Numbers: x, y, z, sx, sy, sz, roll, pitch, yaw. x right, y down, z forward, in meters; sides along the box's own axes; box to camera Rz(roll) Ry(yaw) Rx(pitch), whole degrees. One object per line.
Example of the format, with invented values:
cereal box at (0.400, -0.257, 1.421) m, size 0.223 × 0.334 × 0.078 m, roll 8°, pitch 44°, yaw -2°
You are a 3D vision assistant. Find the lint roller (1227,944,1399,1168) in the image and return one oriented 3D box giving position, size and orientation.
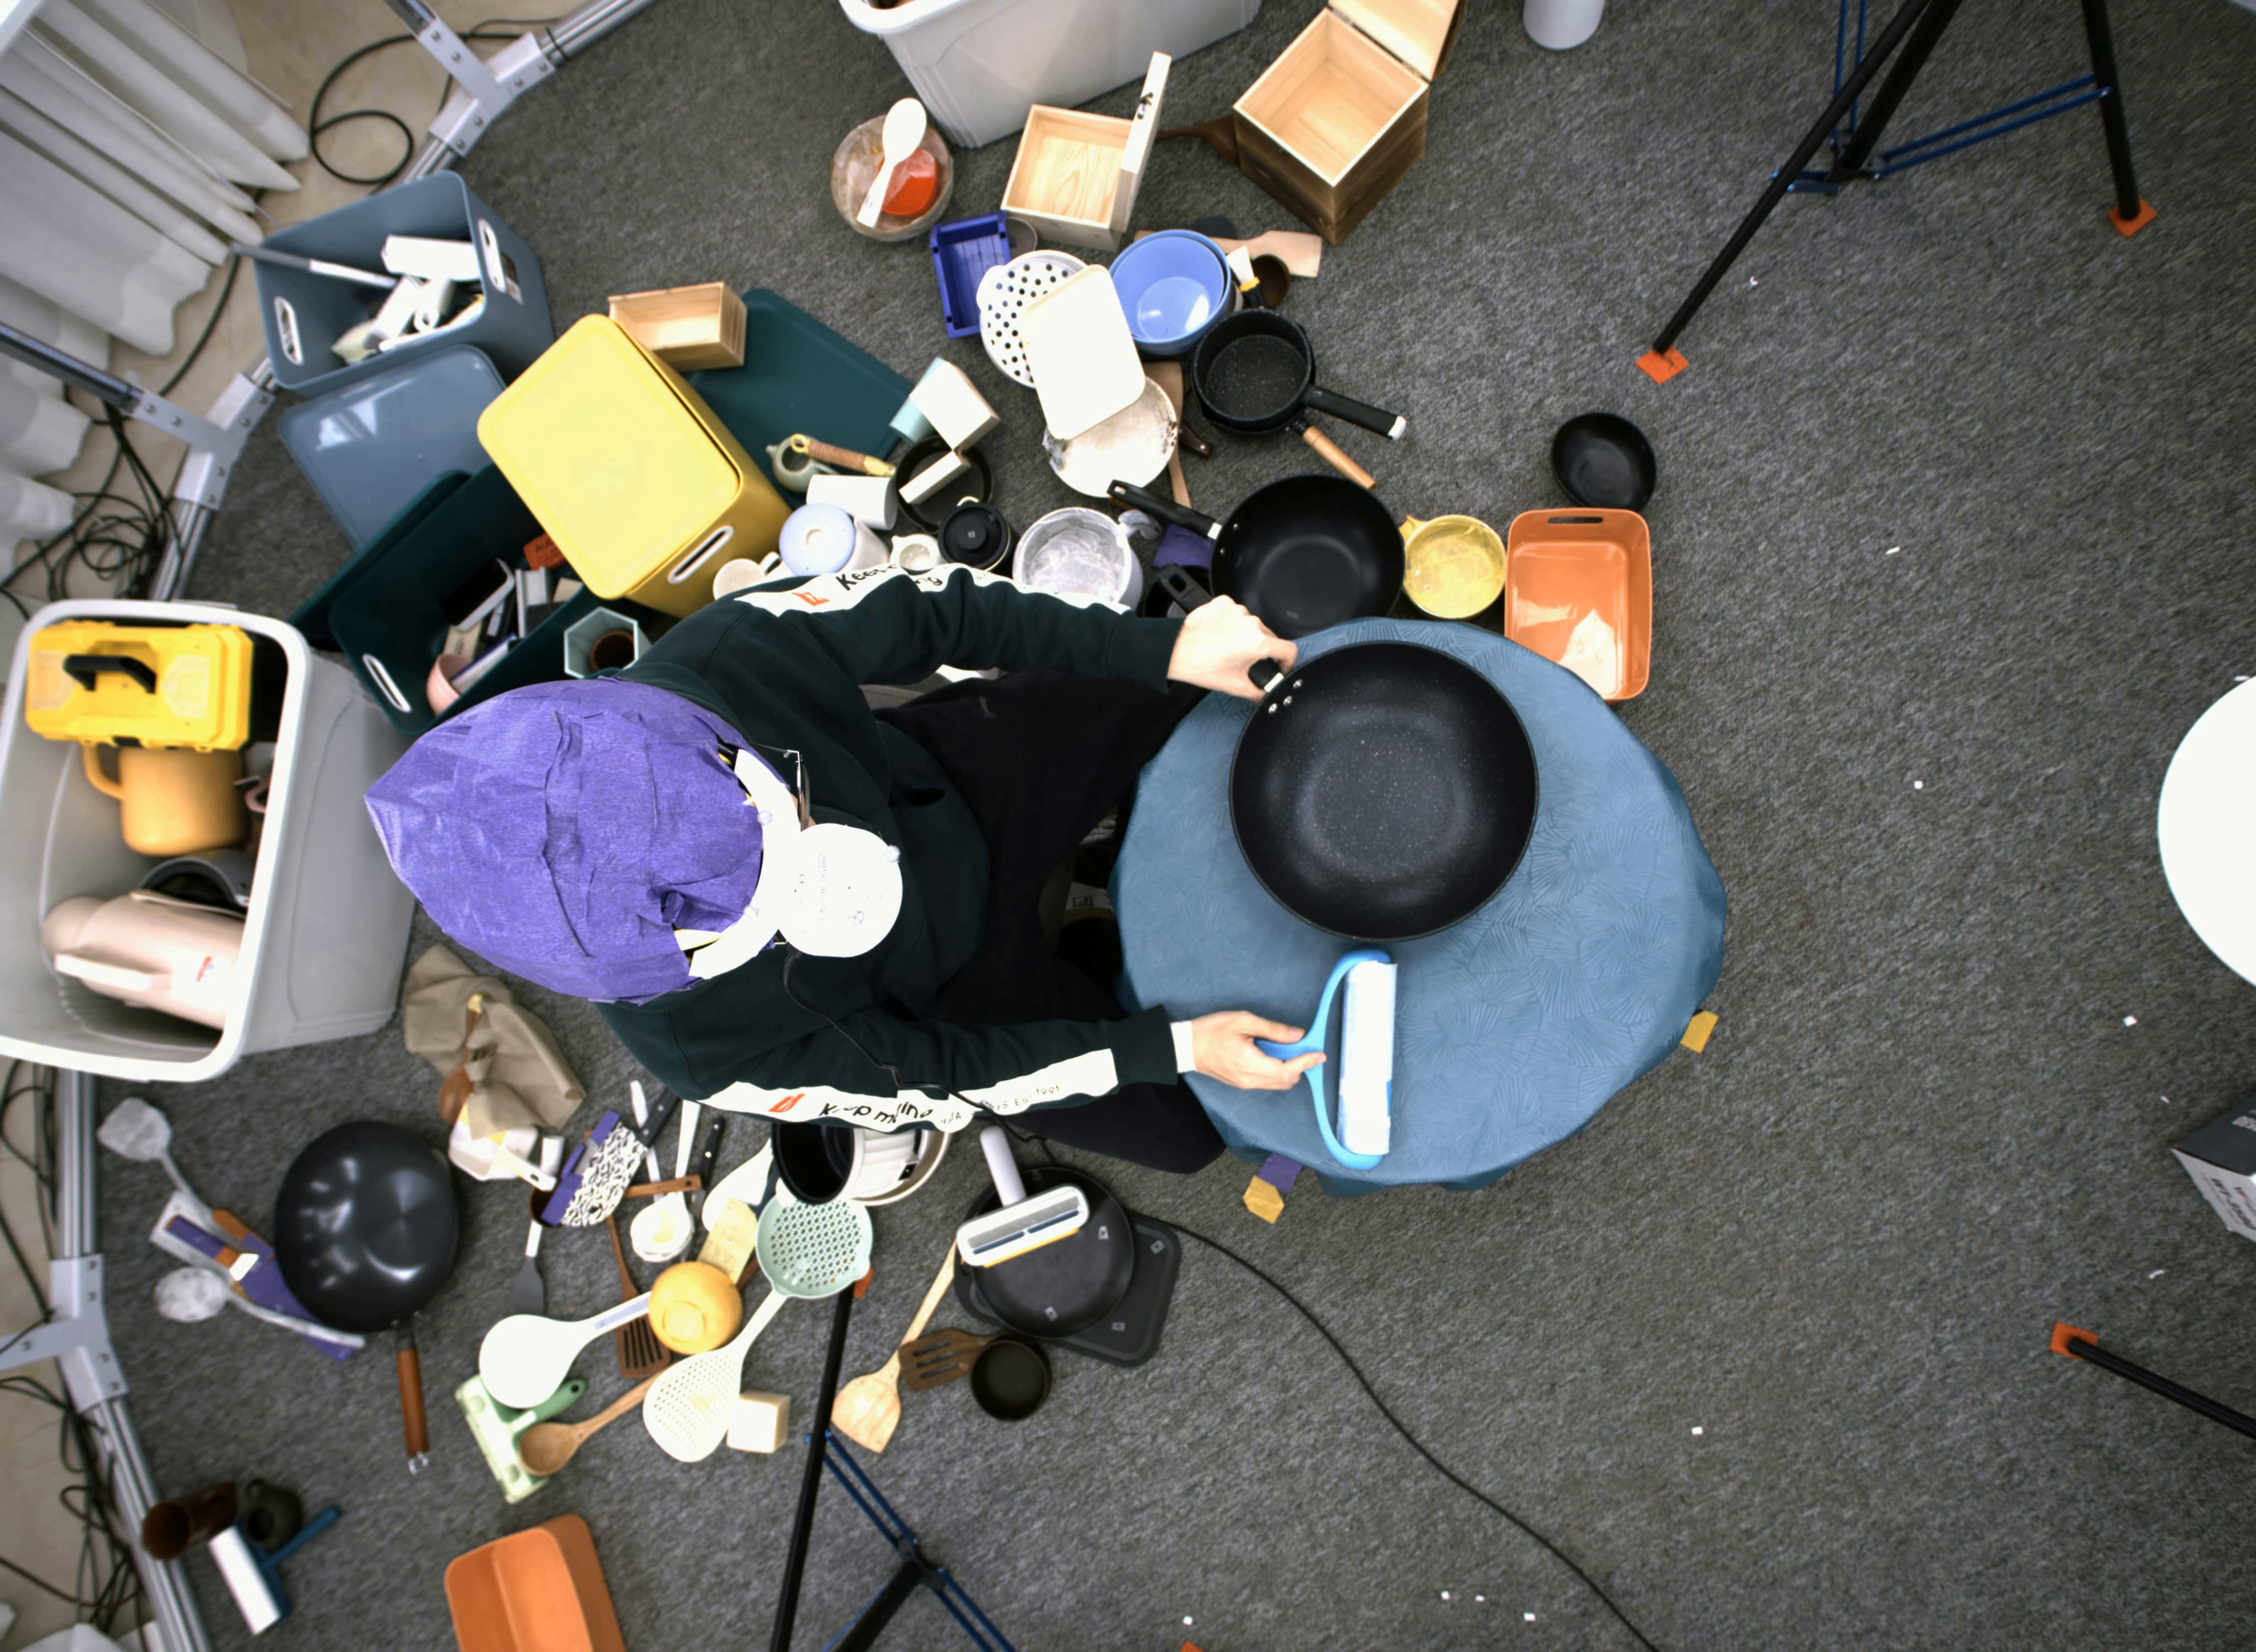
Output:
lint roller at (0.191, 0.236, 1.433) m, size 0.181 × 0.068 × 0.228 m, roll -1°, pitch 89°, yaw 9°

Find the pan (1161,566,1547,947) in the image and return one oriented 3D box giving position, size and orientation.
pan at (0.209, -0.089, 1.421) m, size 0.311 × 0.112 × 0.474 m, roll -45°, pitch 78°, yaw 3°
